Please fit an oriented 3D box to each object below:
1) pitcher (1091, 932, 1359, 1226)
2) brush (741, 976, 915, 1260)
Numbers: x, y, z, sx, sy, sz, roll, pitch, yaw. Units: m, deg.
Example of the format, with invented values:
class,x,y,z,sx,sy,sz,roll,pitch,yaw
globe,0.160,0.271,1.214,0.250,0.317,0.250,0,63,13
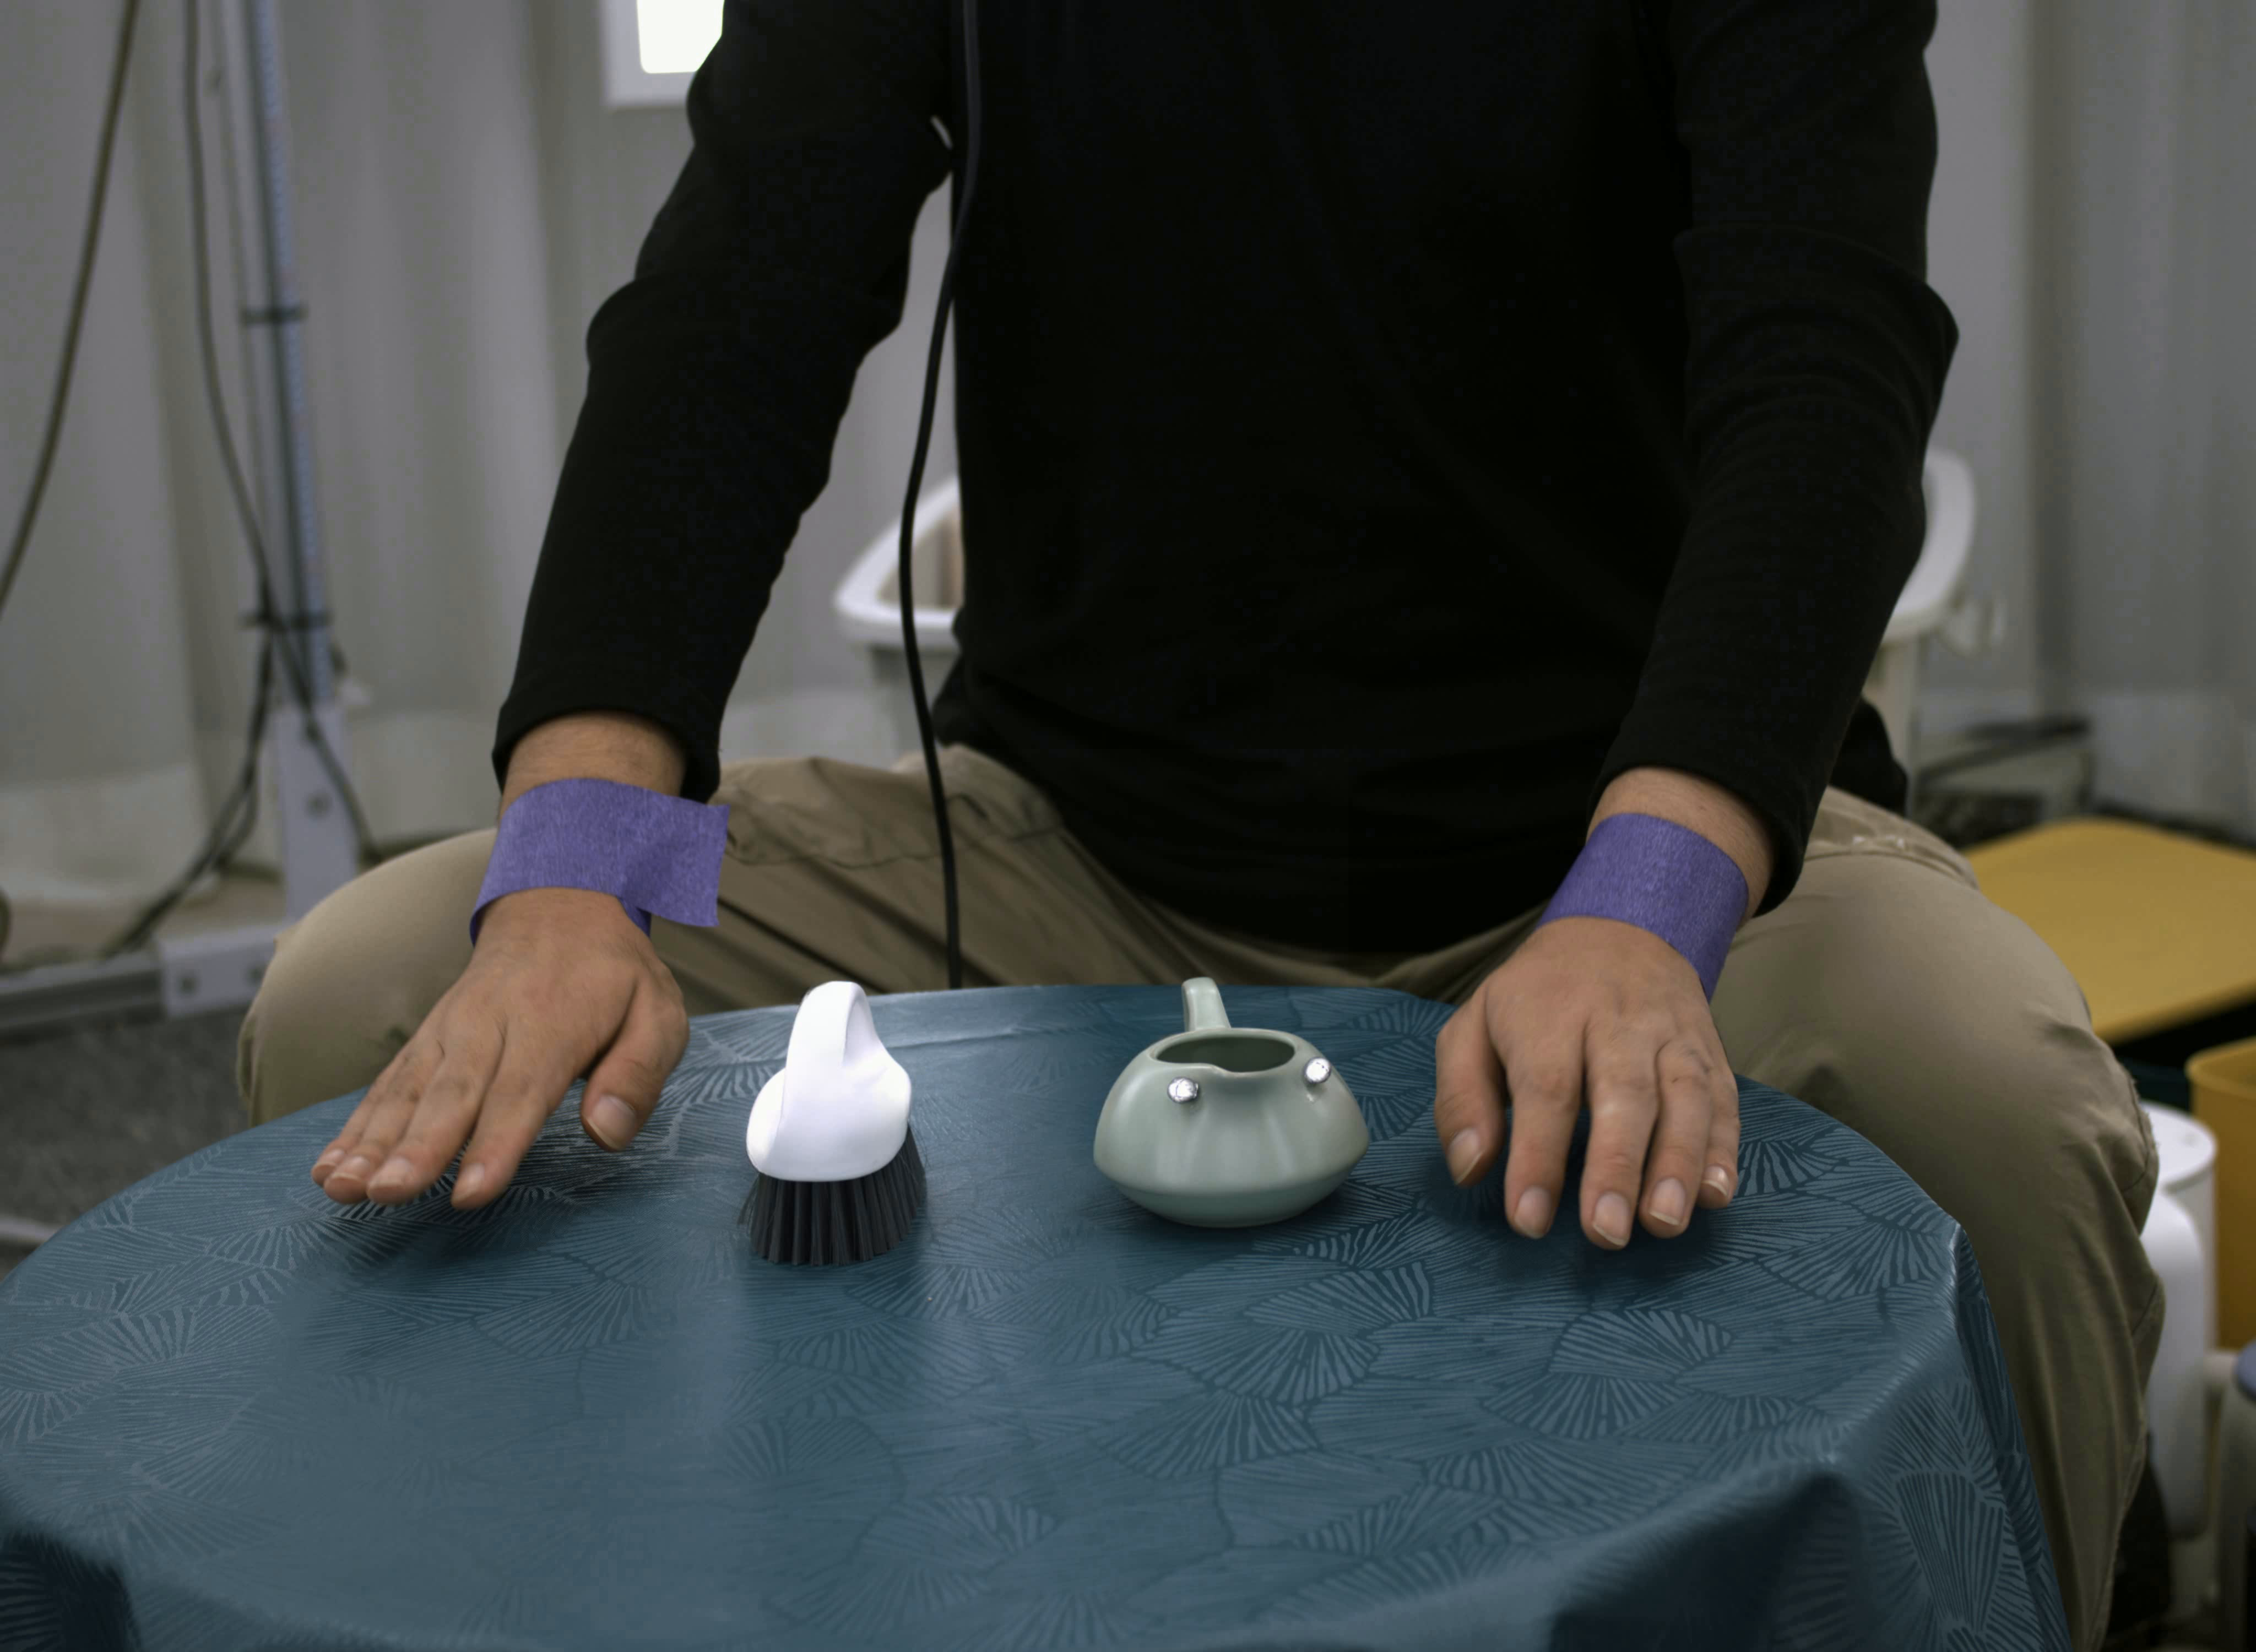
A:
class,x,y,z,sx,sy,sz,roll,pitch,yaw
pitcher,0.029,0.081,1.713,0.086,0.060,0.109,-11,30,11
brush,-0.094,0.085,1.700,0.050,0.072,0.100,0,16,5
